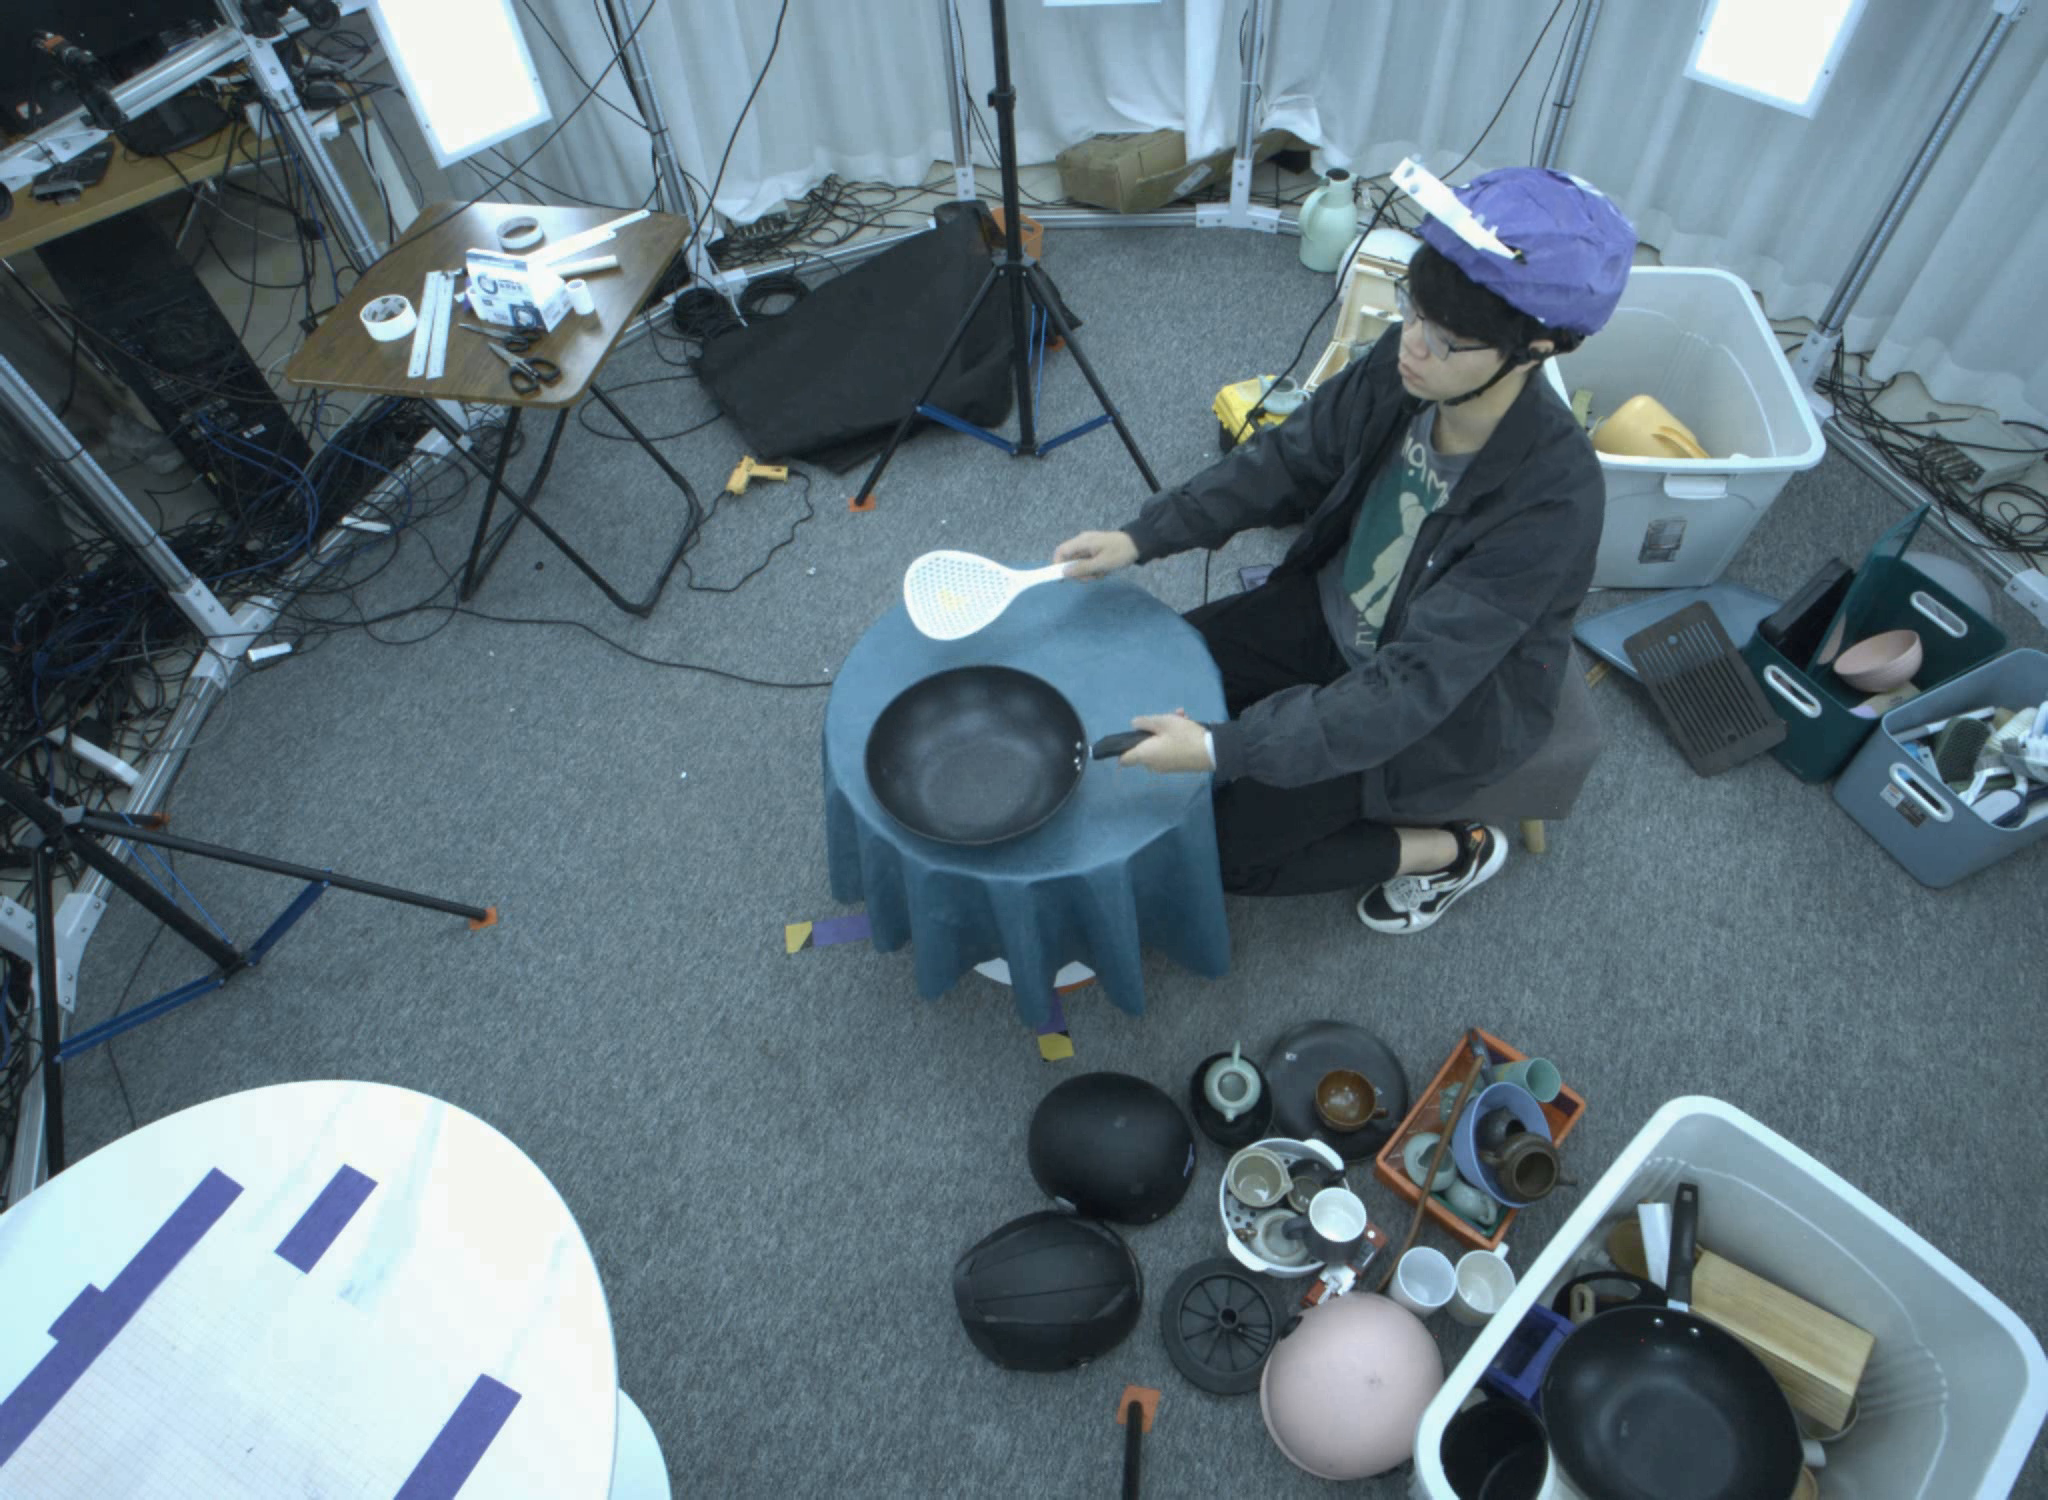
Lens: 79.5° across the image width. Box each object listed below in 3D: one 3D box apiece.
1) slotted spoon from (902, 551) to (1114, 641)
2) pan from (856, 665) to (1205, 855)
[{"bbox_3d":[-0.017,-0.254,1.865,0.351,0.050,0.136,-15,87,-15],"label":"slotted spoon"},{"bbox_3d":[0.009,0.017,1.701,0.476,0.113,0.307,-2,56,2],"label":"pan"}]
